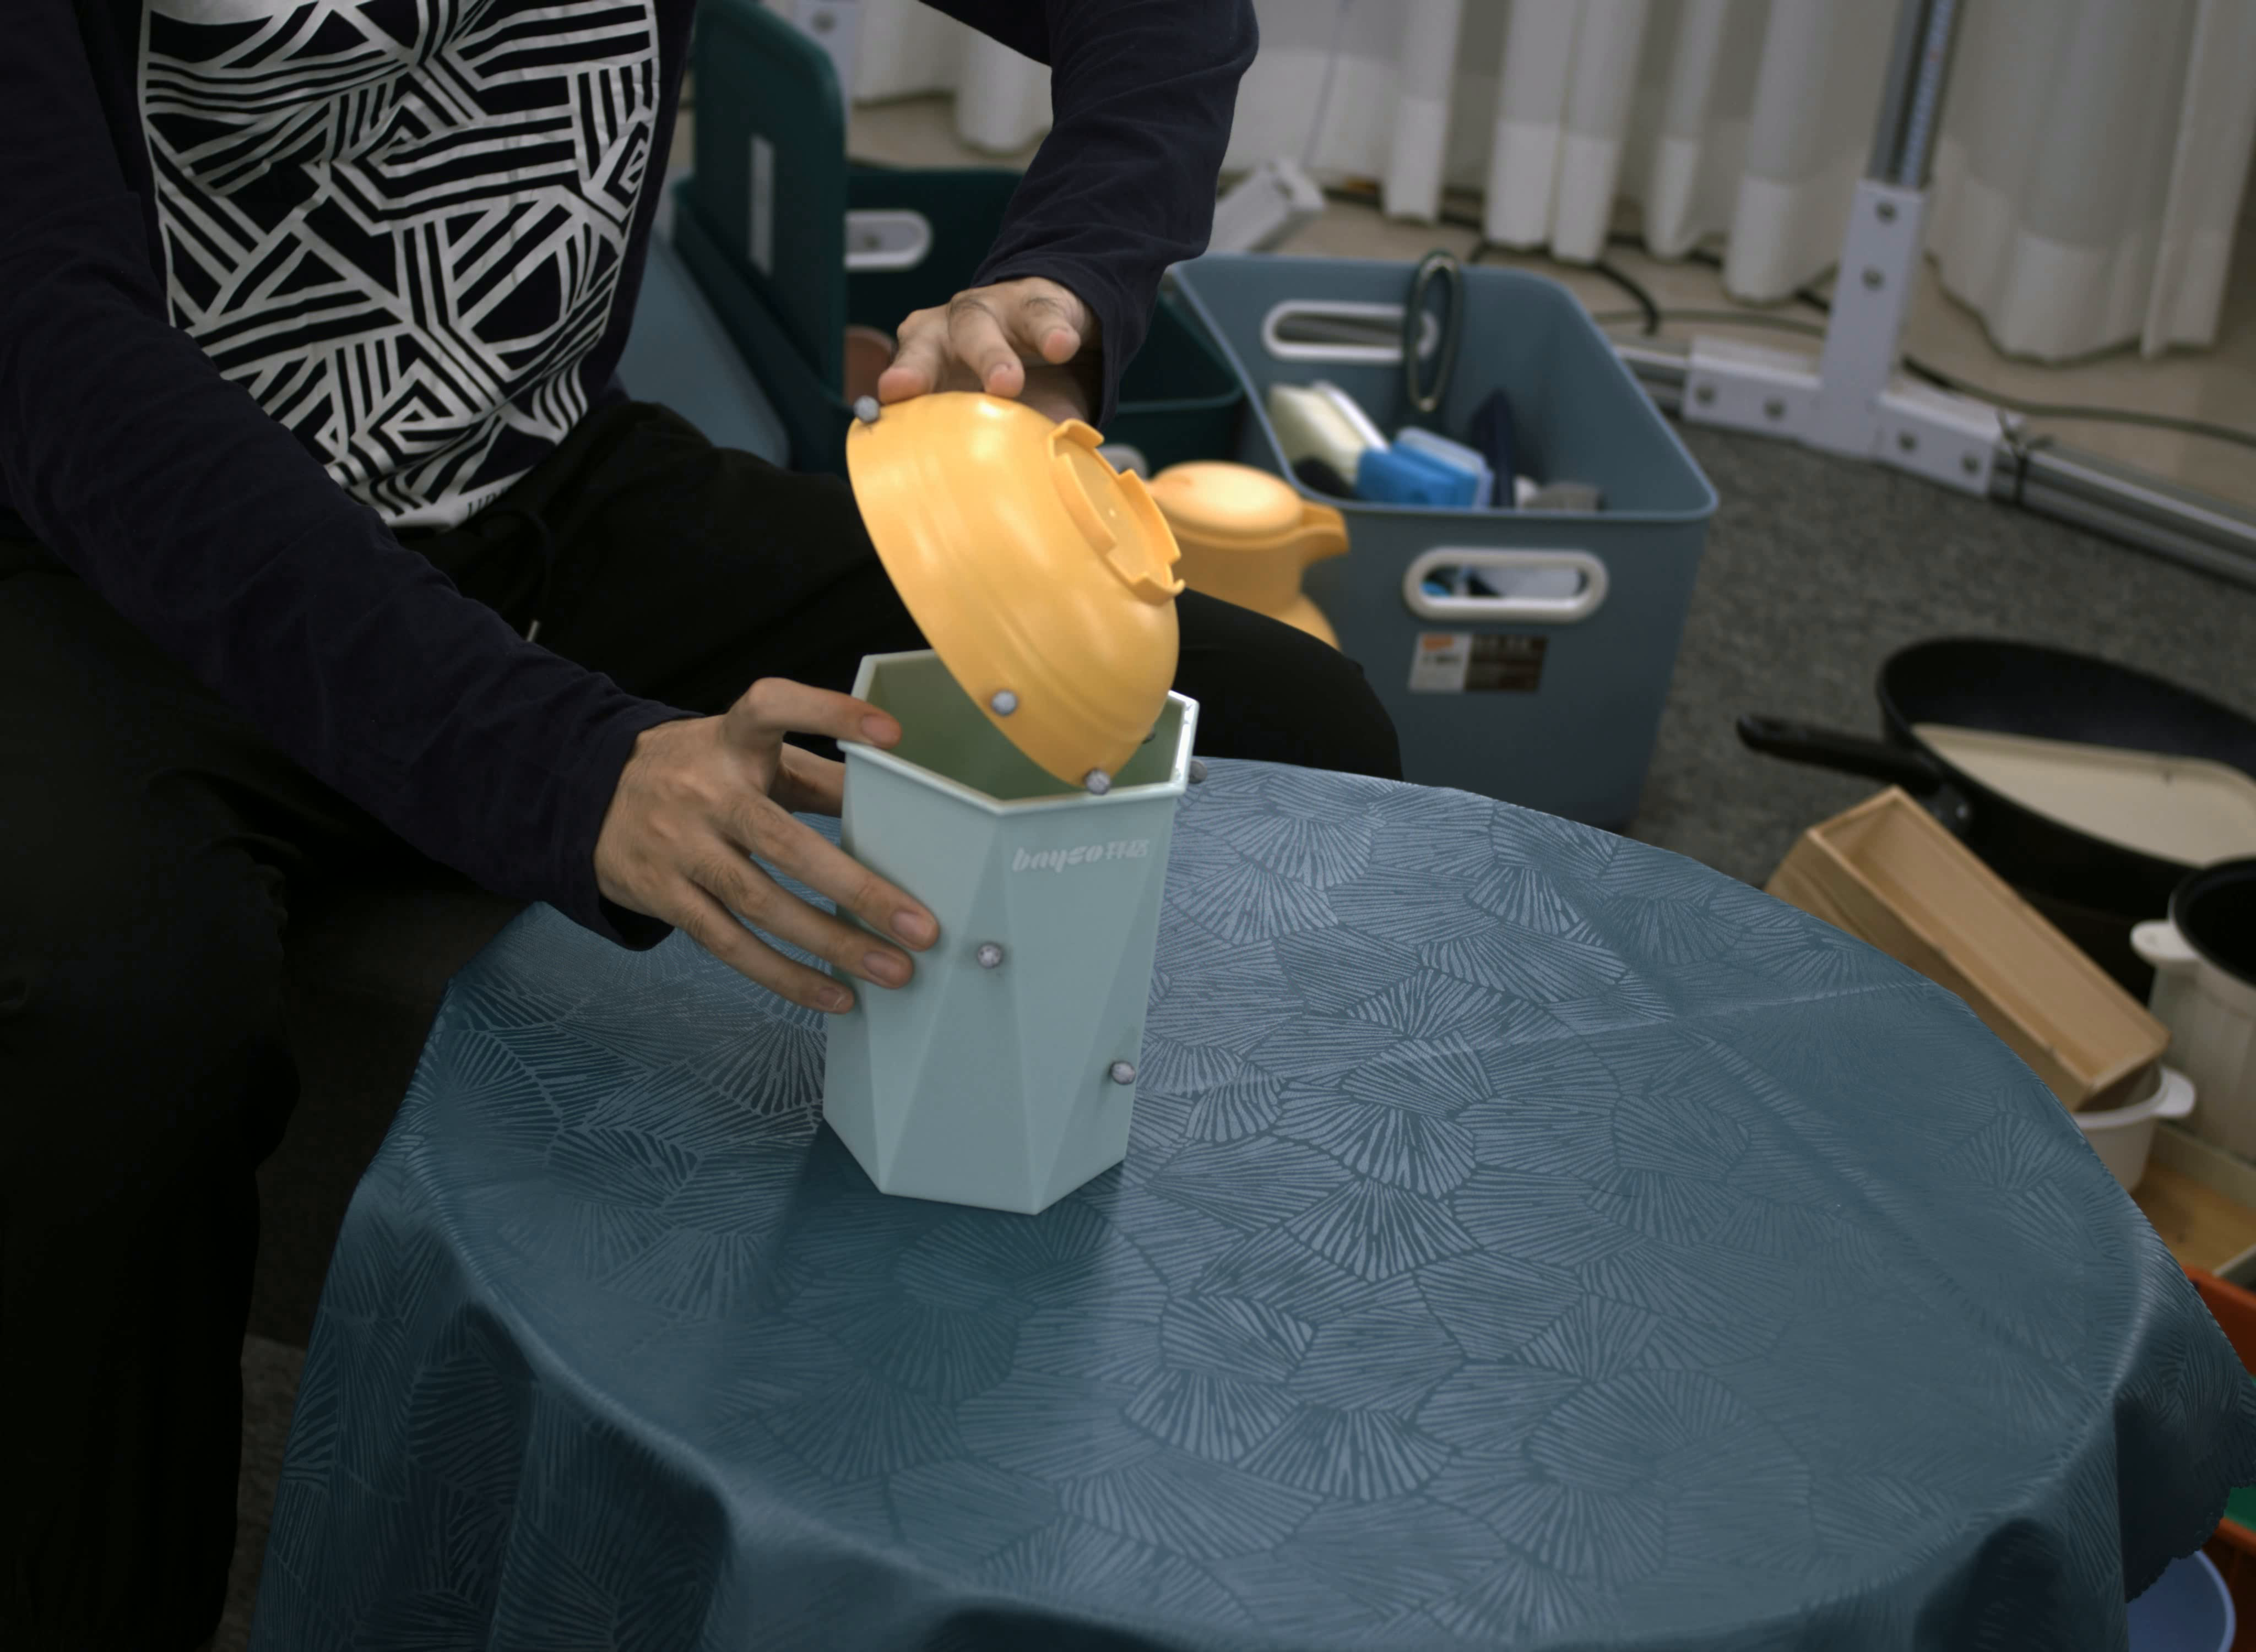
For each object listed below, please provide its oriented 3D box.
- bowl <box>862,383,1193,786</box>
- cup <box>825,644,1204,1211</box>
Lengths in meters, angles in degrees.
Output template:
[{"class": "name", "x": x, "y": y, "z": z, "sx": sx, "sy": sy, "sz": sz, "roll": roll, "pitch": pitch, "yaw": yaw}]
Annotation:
[{"class": "bowl", "x": -0.021, "y": -0.090, "z": 1.723, "sx": 0.060, "sy": 0.144, "sz": 0.146, "roll": -31, "pitch": 20, "yaw": 18}, {"class": "cup", "x": -0.042, "y": 0.035, "z": 1.791, "sx": 0.130, "sy": 0.162, "sz": 0.116, "roll": -6, "pitch": 28, "yaw": -26}]
